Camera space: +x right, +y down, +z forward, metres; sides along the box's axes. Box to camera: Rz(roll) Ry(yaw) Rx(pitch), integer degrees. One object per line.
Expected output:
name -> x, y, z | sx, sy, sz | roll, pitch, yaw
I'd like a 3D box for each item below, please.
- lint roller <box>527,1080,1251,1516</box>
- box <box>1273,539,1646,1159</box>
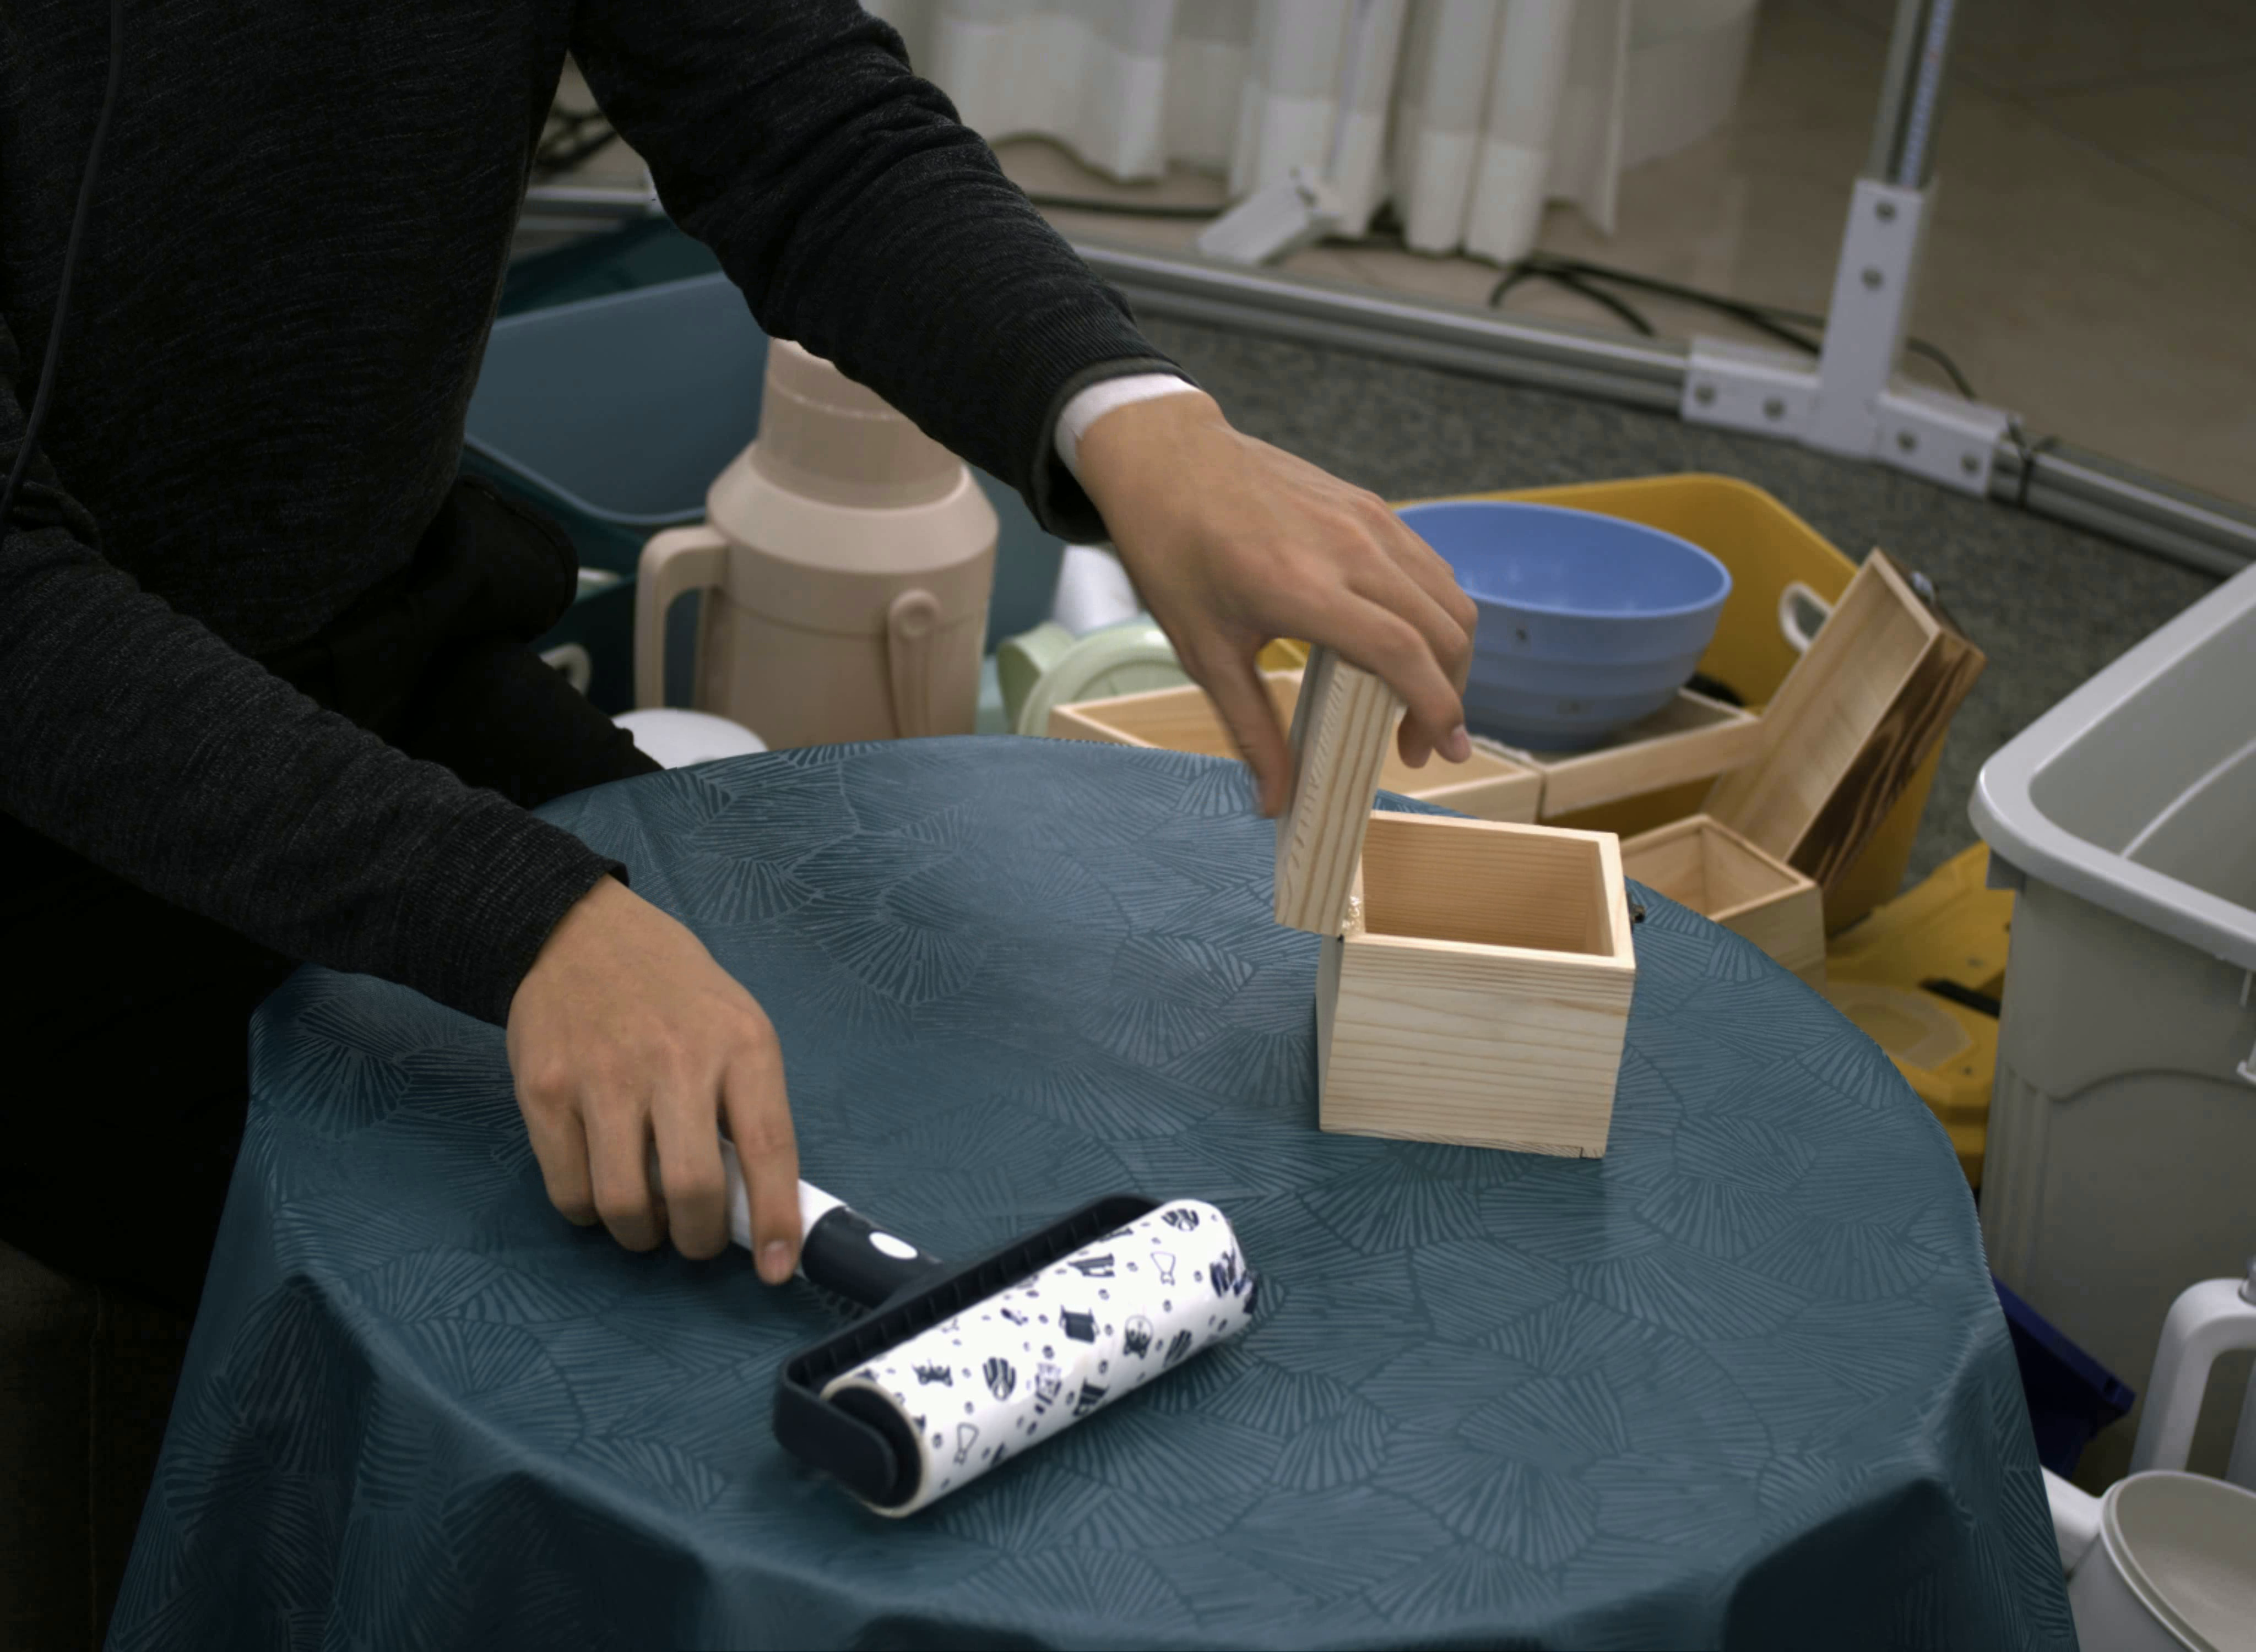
lint roller -> -0.105, 0.130, 1.719 | 0.249, 0.050, 0.175 | 25, 33, 33
box -> 0.117, 0.007, 1.856 | 0.133, 0.184, 0.103 | 5, 26, -2
